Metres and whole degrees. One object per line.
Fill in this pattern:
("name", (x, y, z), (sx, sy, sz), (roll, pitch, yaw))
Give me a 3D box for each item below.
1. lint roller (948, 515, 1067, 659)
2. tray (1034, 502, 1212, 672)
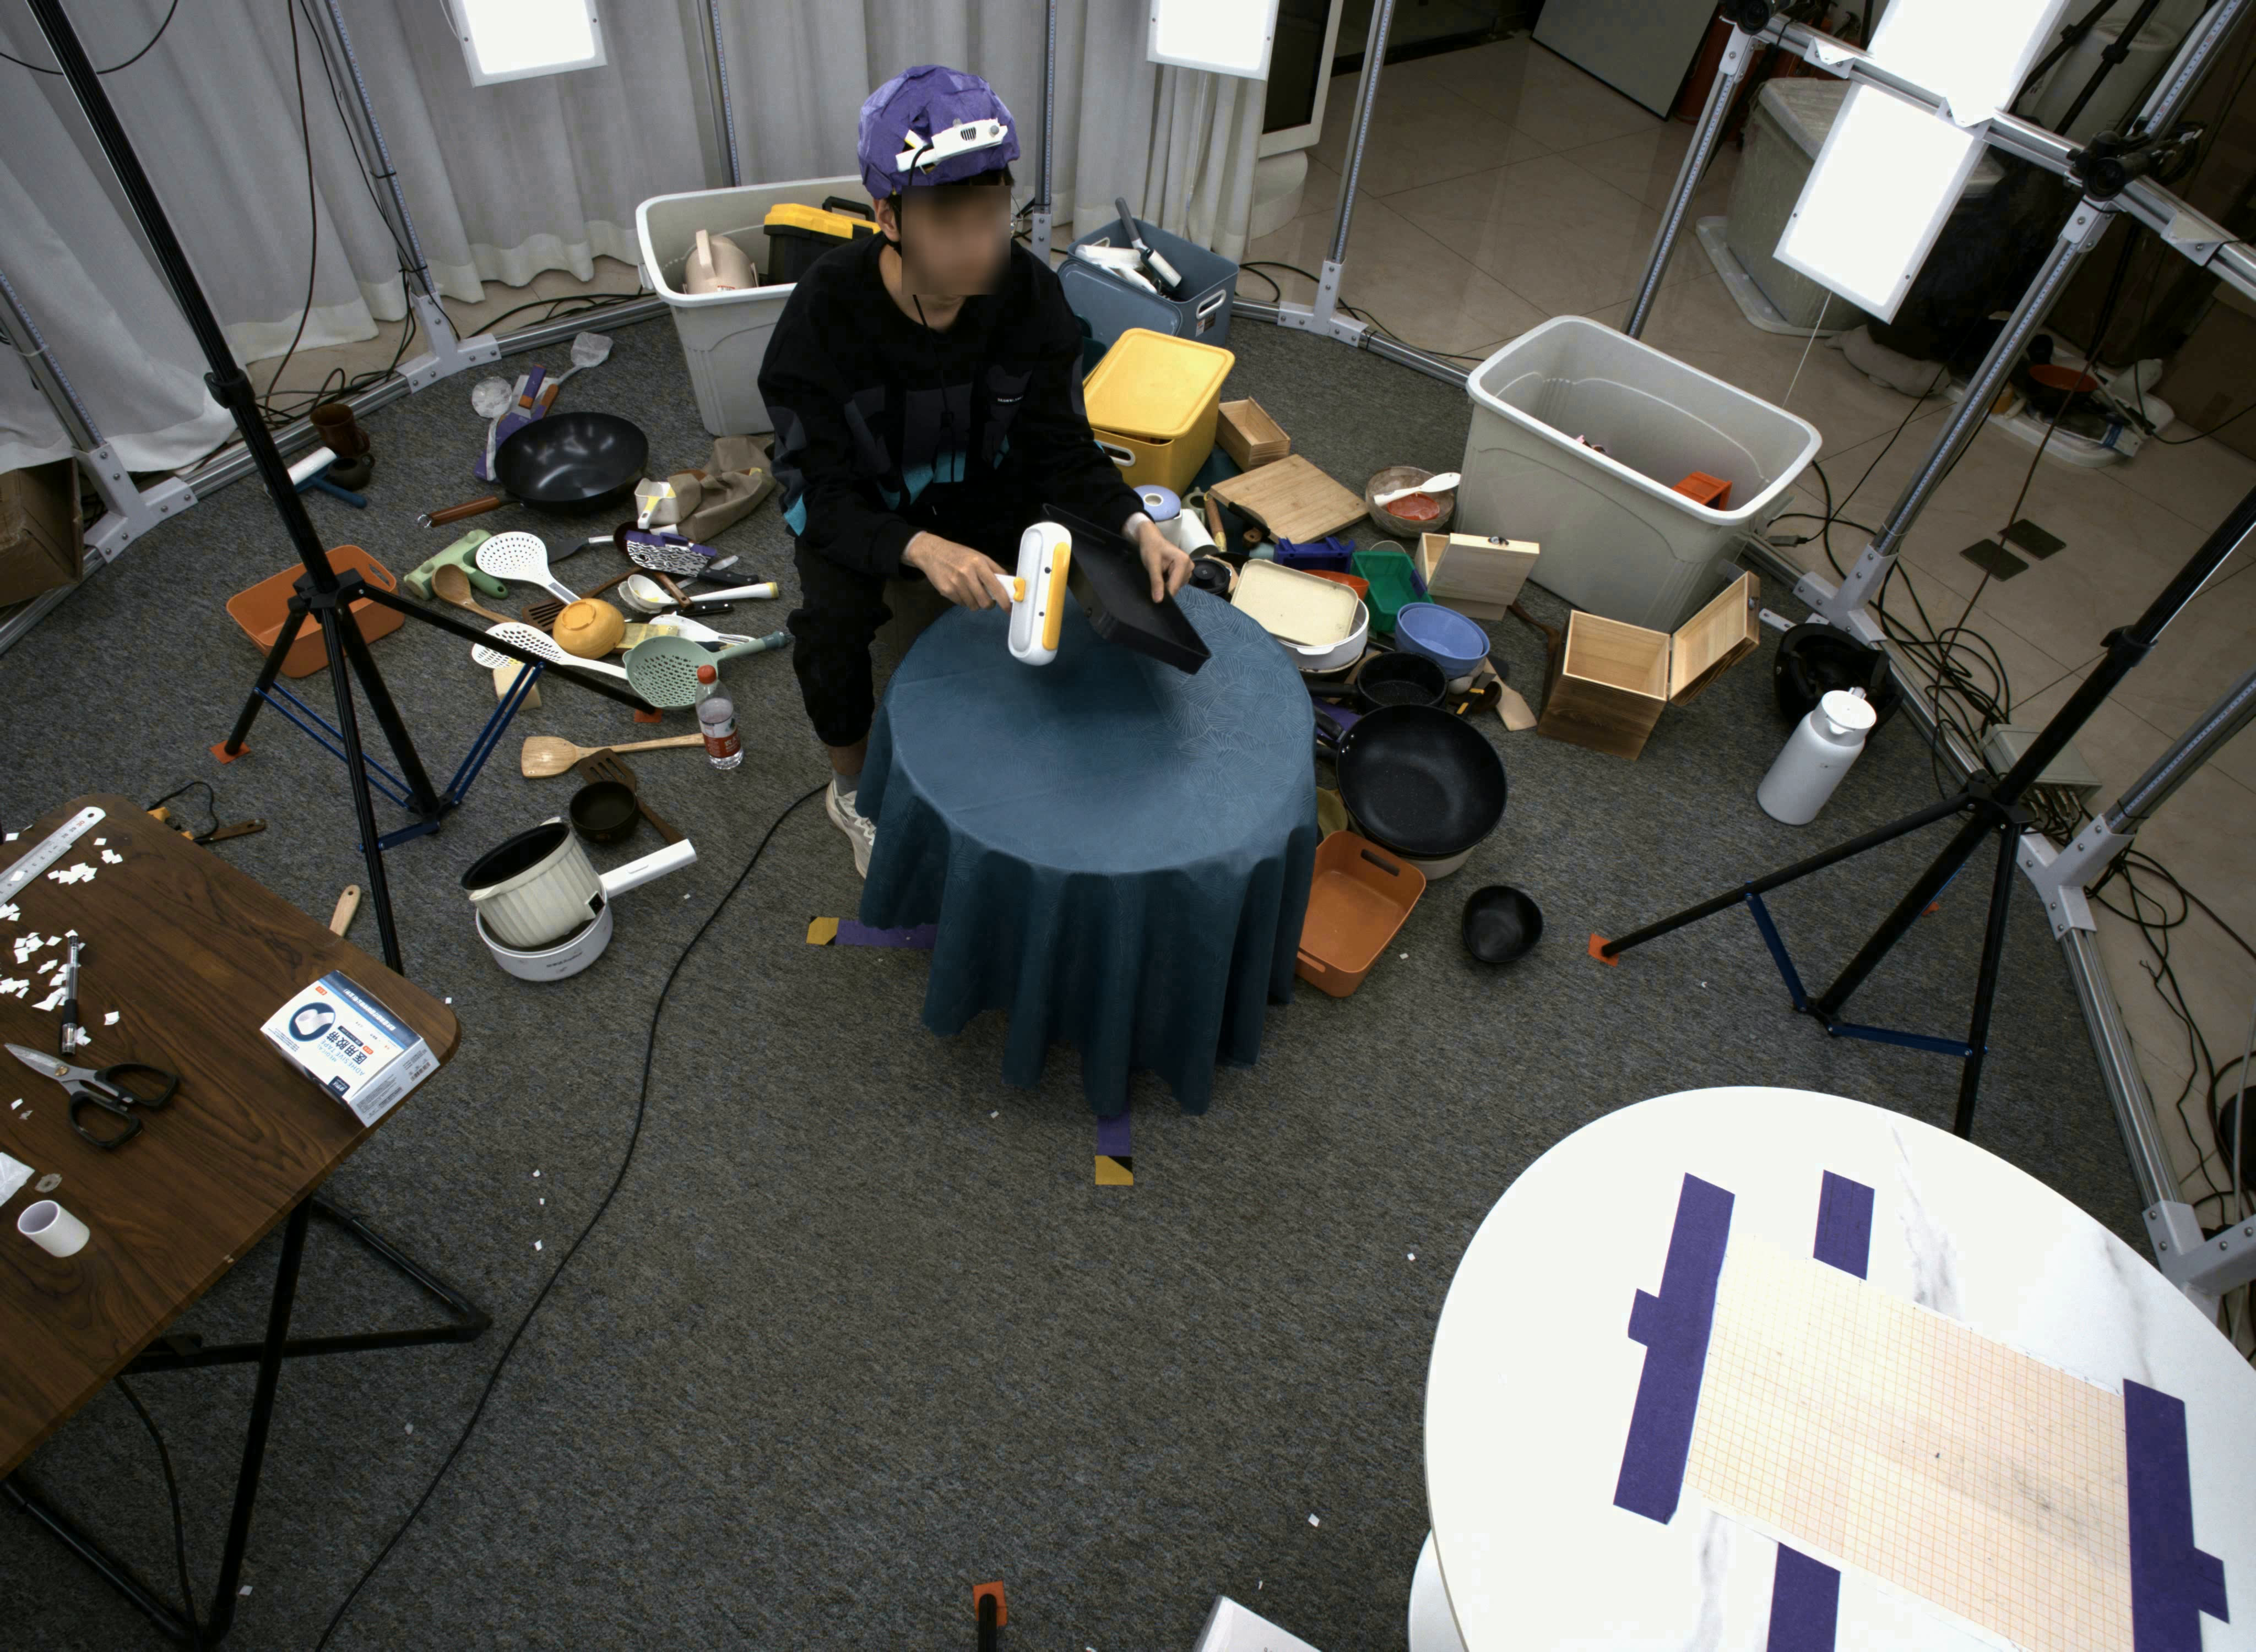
("lint roller", (-0.166, -0.331, 1.782), (0.194, 0.191, 0.074), (10, 12, 42))
("tray", (-0.013, -0.339, 1.804), (0.182, 0.036, 0.326), (16, 31, -36))
